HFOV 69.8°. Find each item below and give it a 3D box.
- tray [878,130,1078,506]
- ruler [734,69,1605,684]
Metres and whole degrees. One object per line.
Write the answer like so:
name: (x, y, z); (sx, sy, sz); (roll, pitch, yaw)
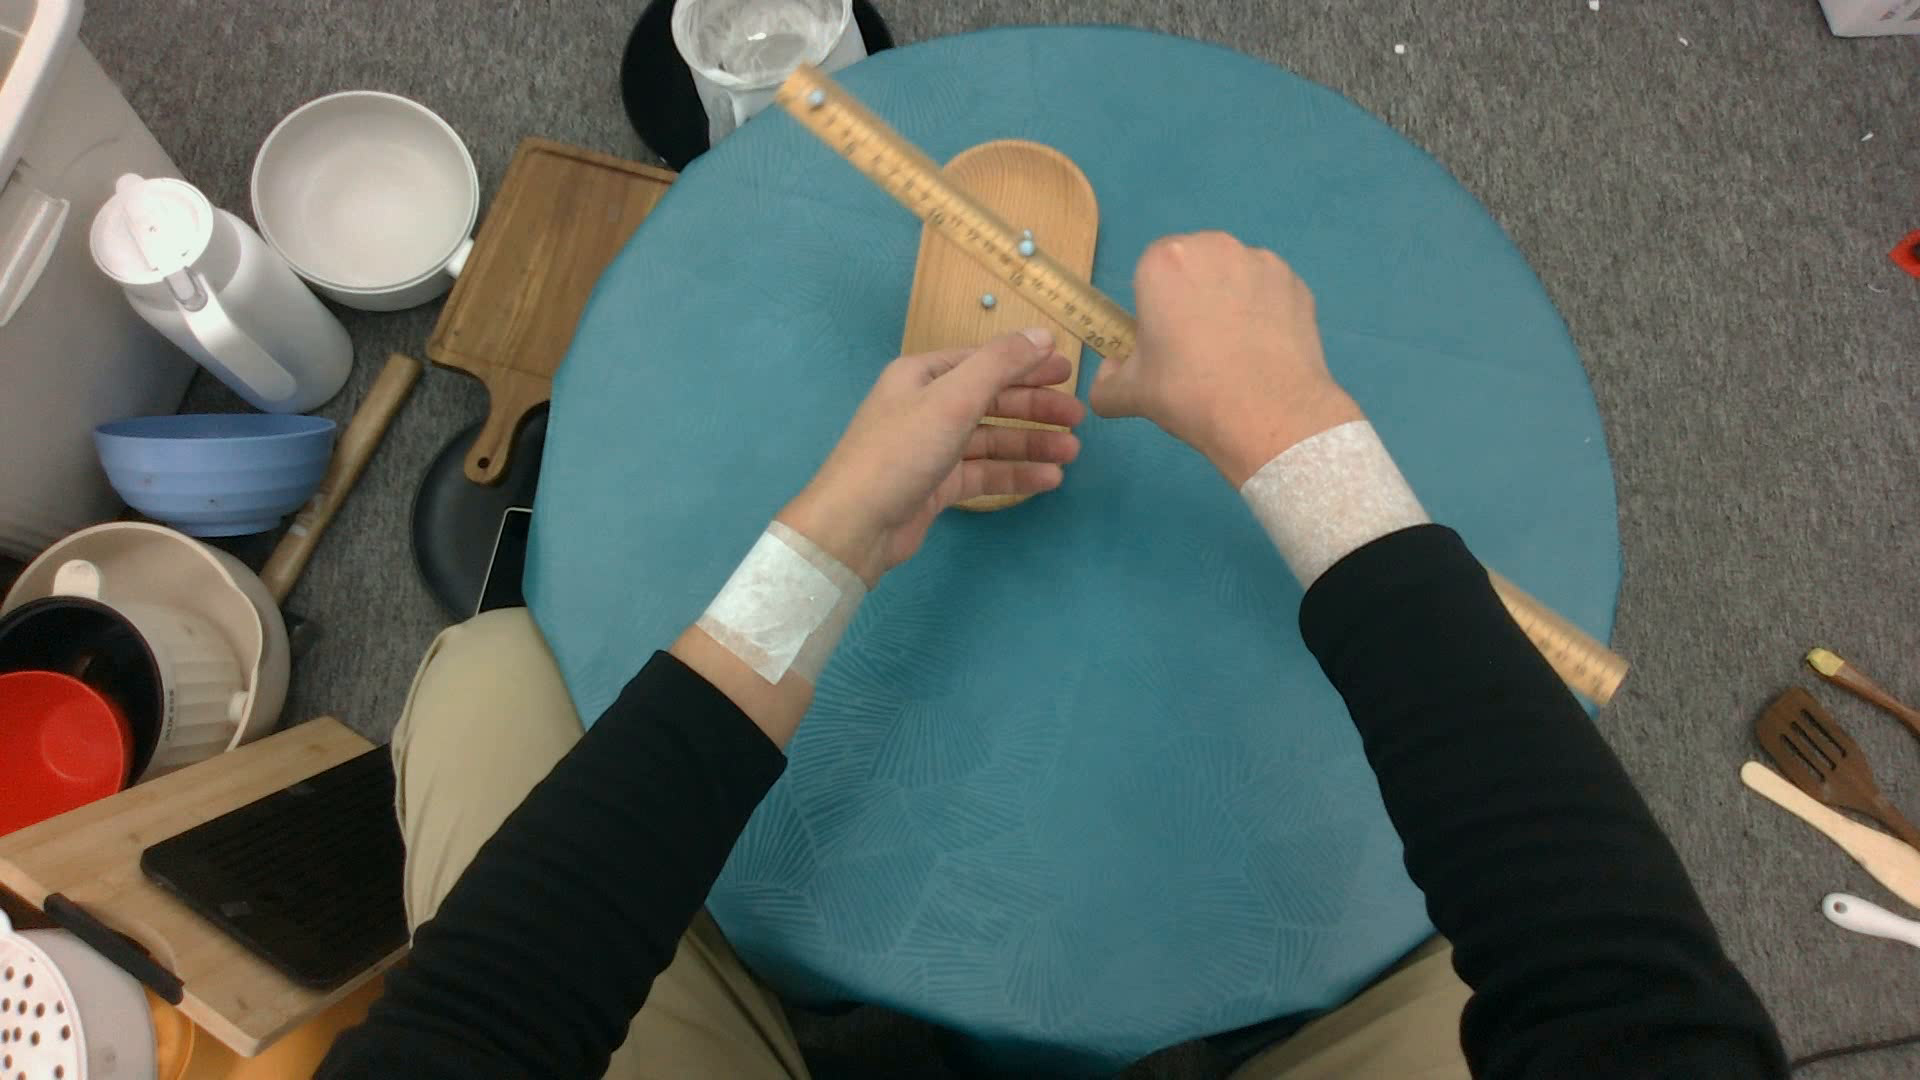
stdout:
tray: (0.012, -0.129, 0.782); (0.101, 0.020, 0.232); (5, 75, 1)
ruler: (0.099, -0.081, 0.671); (0.500, 0.006, 0.027); (35, 84, 2)
